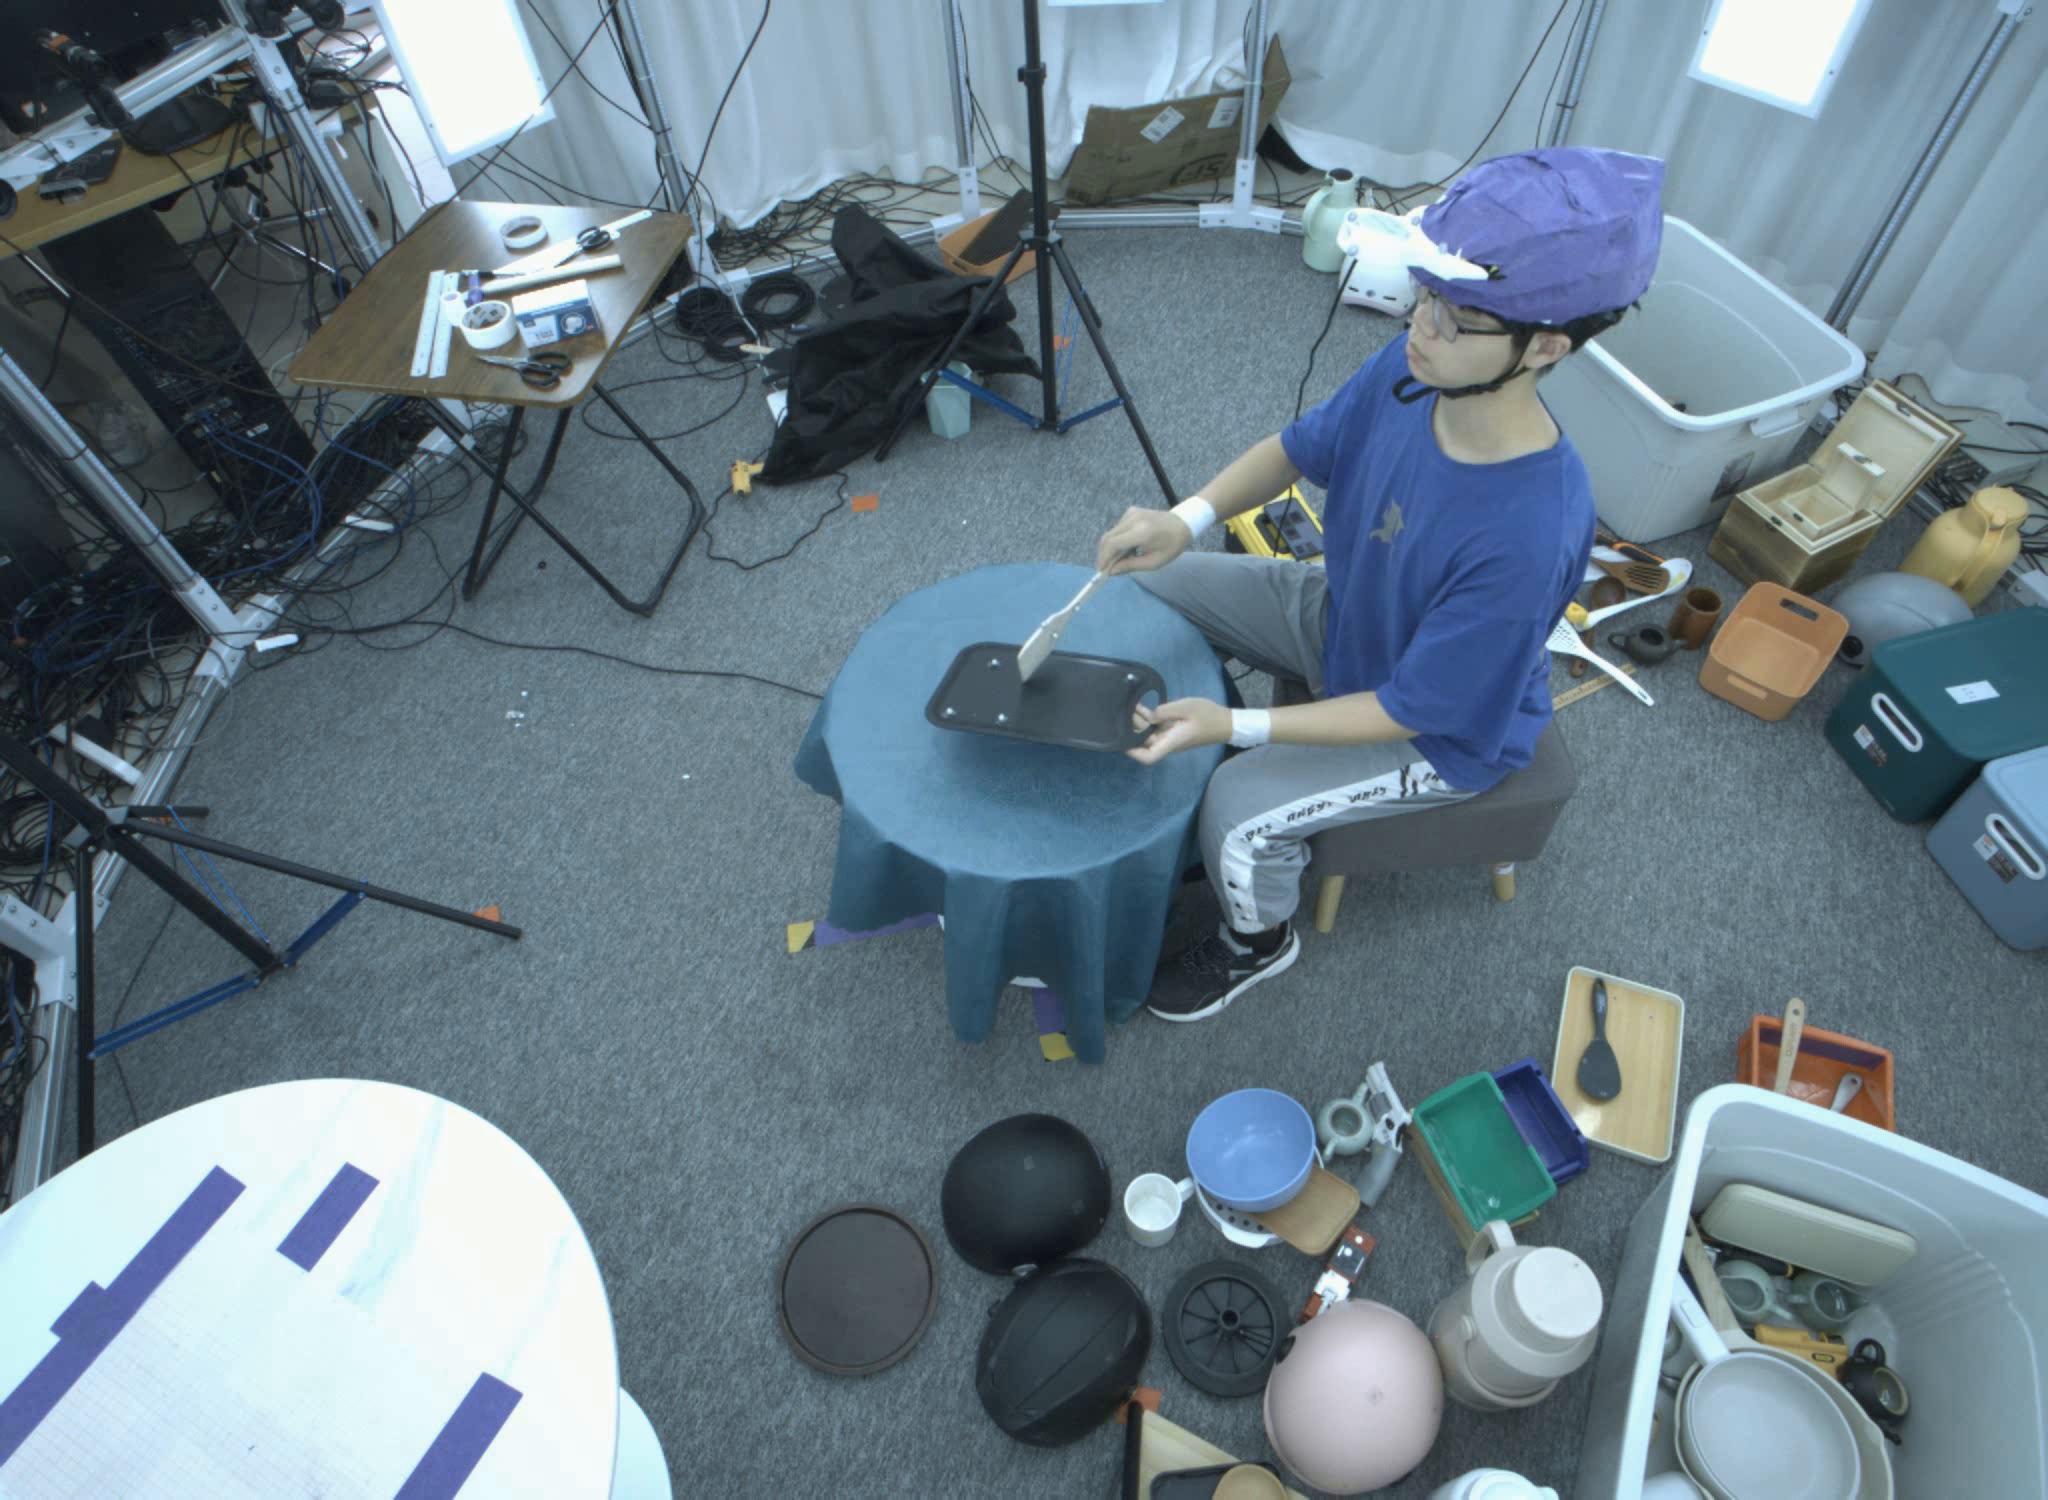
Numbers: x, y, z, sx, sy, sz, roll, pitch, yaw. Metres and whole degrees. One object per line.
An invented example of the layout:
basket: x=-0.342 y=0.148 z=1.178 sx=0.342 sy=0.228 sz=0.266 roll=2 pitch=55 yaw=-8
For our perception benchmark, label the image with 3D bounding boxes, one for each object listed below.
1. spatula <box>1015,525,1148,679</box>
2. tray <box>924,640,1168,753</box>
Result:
spatula: x=0.083 y=-0.219 z=1.746 sx=0.010 sy=0.073 sz=0.294 roll=35 pitch=72 yaw=22
tray: x=0.036 y=-0.079 z=1.707 sx=0.322 sy=0.010 sz=0.211 roll=10 pitch=42 yaw=15
